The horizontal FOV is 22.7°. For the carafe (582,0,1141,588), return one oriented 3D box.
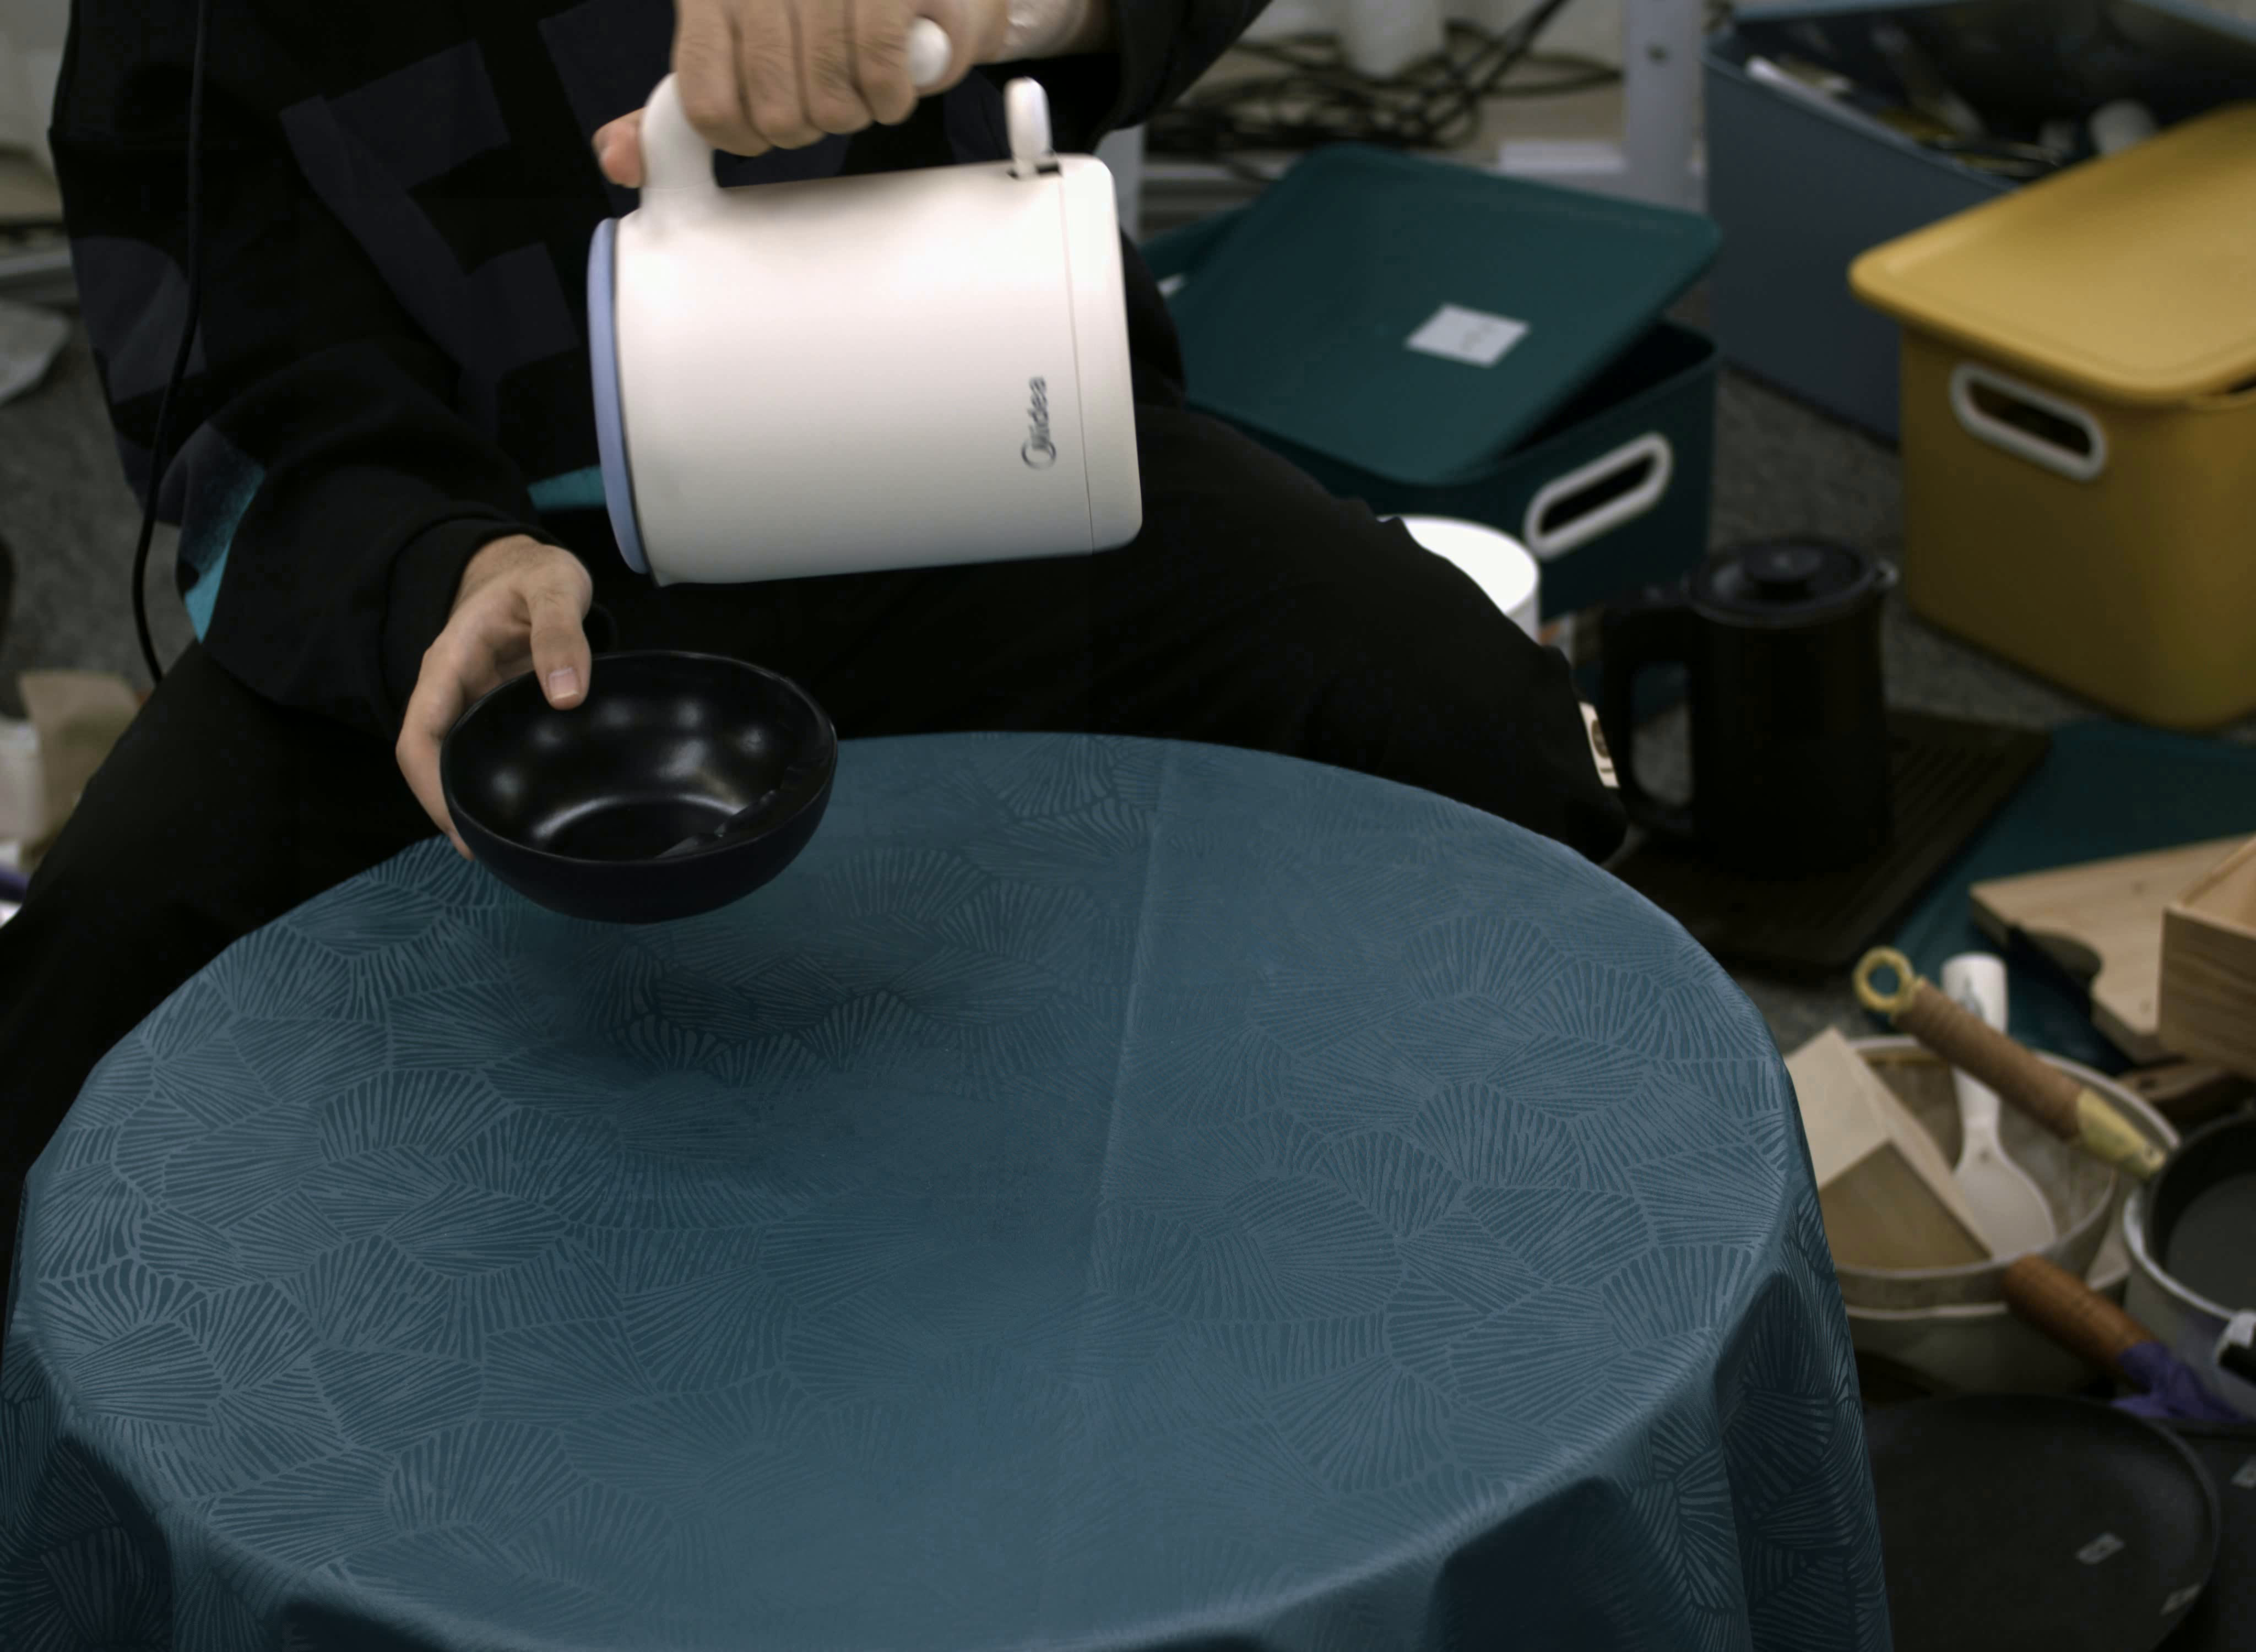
[{"bbox_3d":[-0.088,-0.176,1.857,0.182,0.189,0.134,-5,21,-2],"label":"carafe"}]

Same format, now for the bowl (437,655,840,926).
[{"bbox_3d":[-0.168,-0.004,1.947,0.139,0.049,0.142,0,30,0],"label":"bowl"}]
